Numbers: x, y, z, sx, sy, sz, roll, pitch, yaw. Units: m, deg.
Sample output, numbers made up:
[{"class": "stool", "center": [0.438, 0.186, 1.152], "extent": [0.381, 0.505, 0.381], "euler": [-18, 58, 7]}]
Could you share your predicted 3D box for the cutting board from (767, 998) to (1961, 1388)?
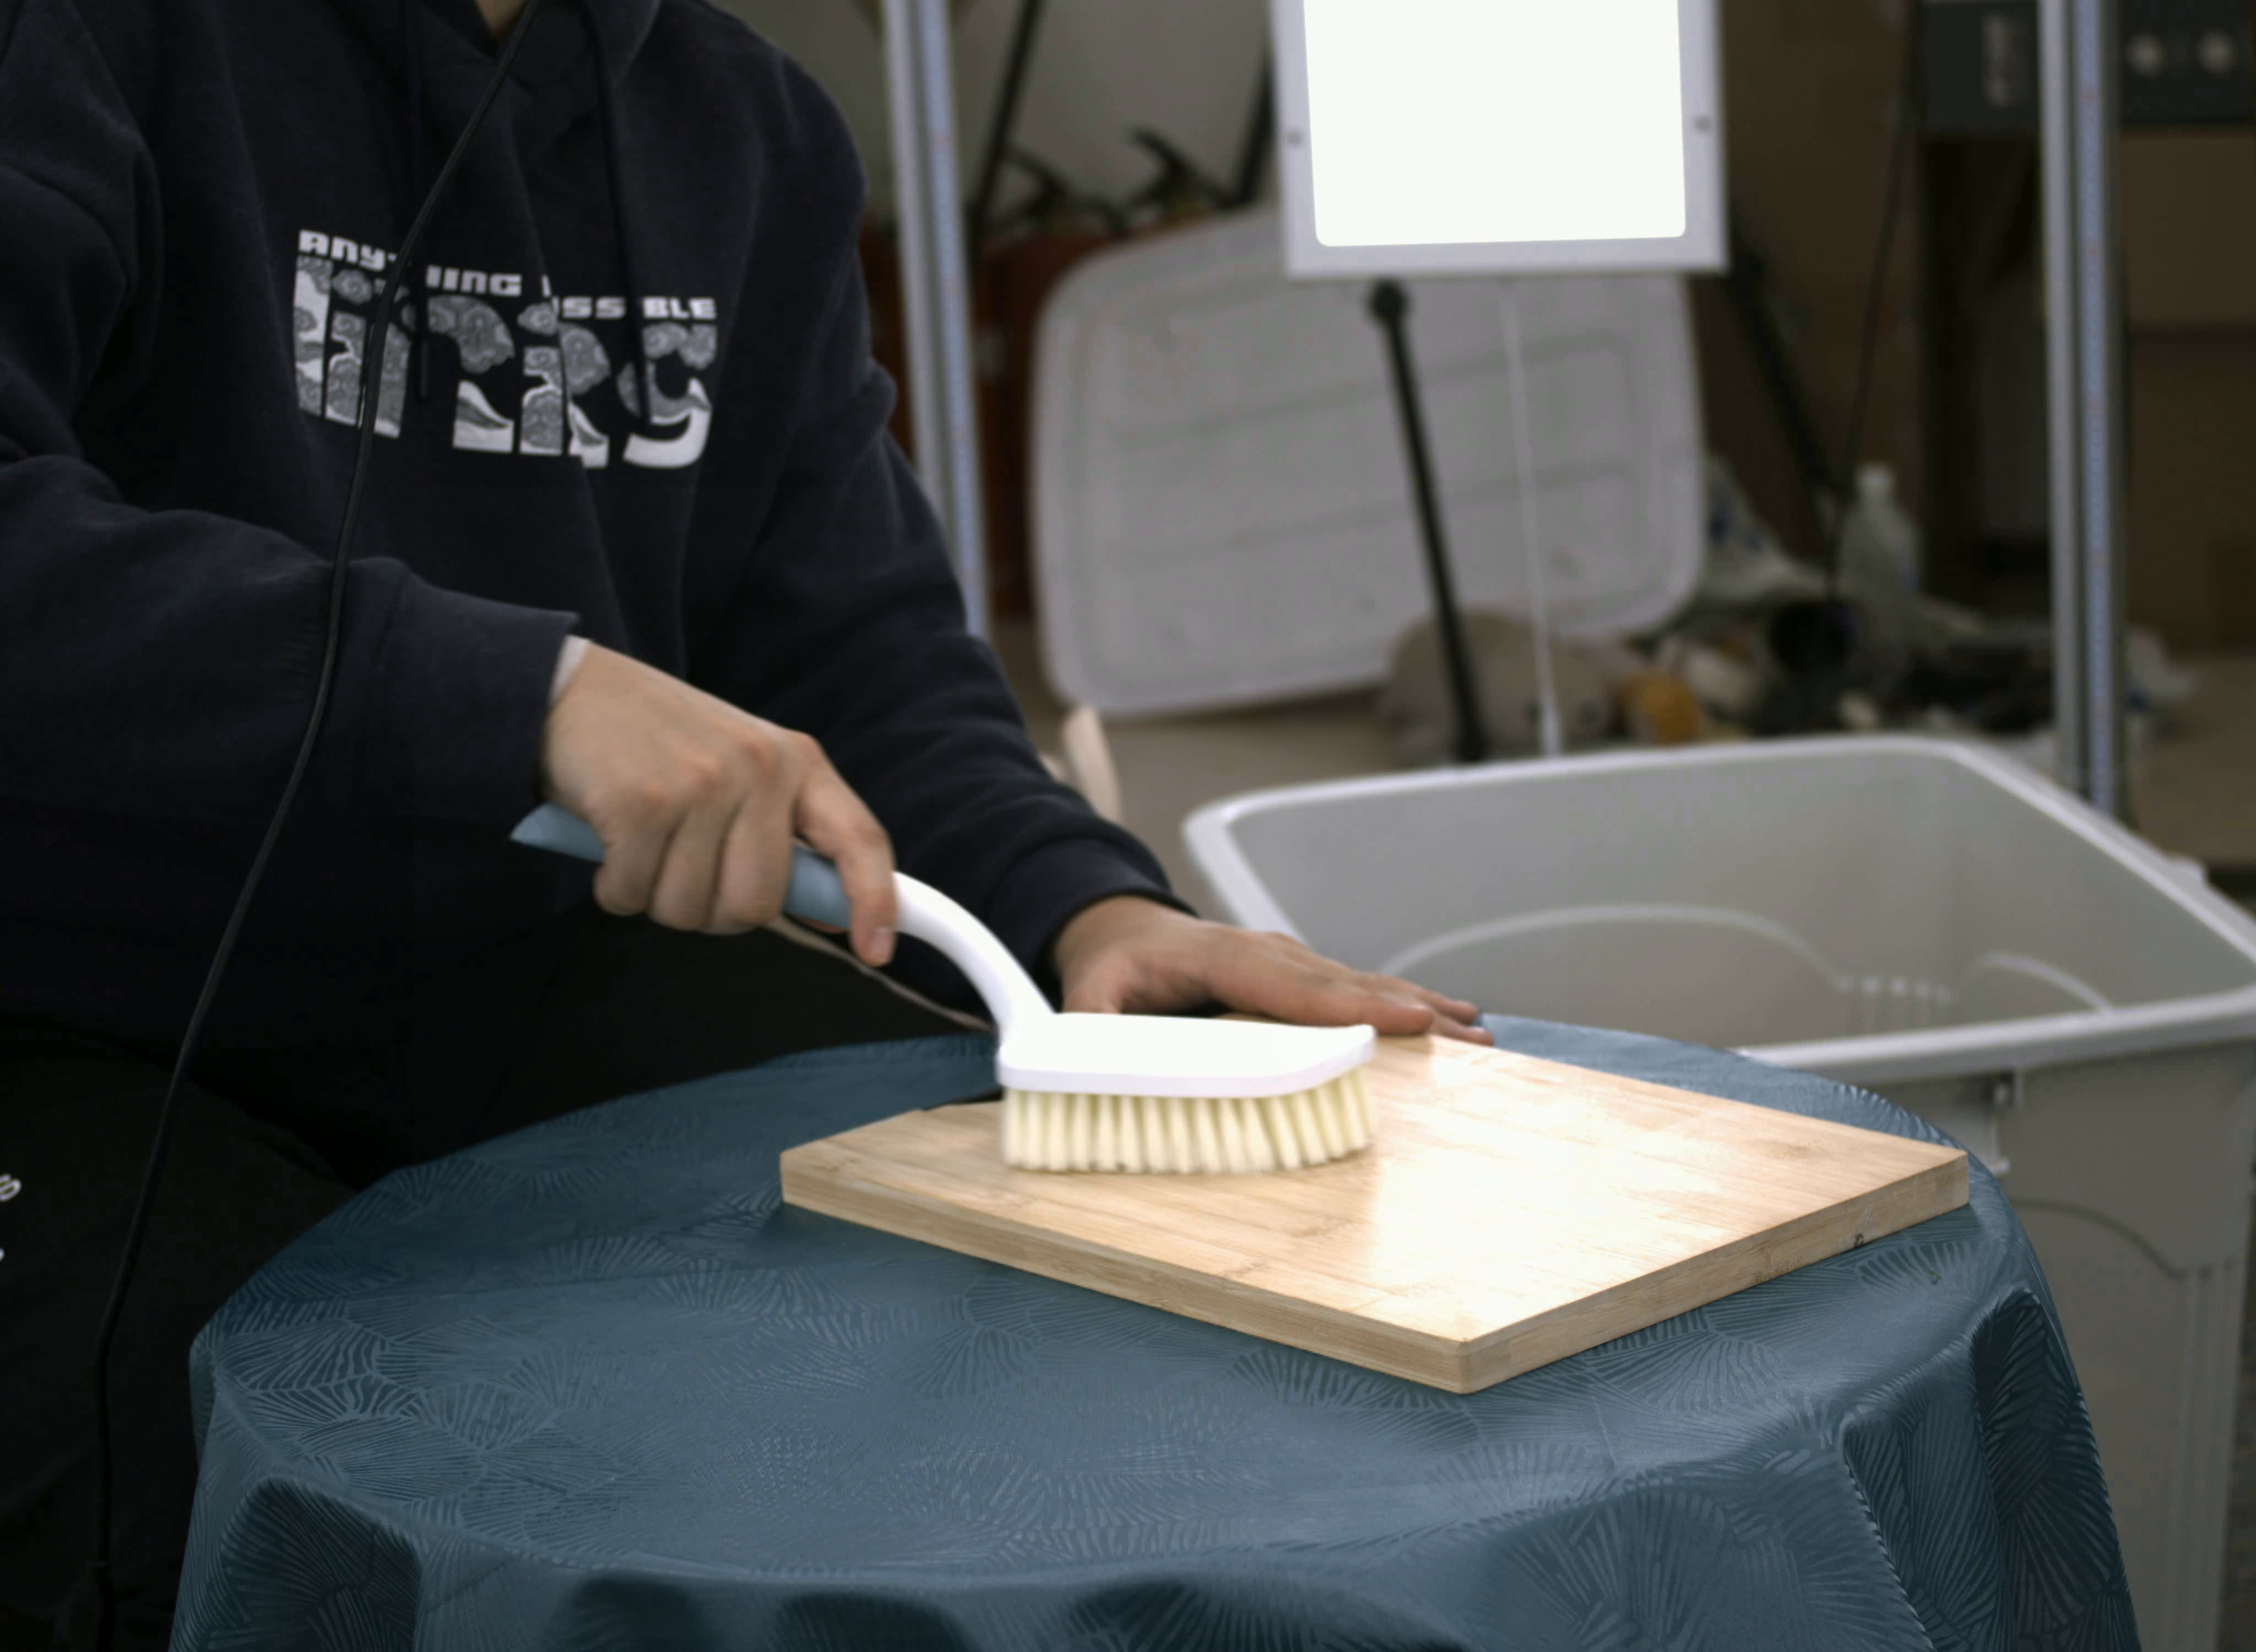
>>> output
[{"class": "cutting board", "center": [0.075, 0.119, 1.869], "extent": [0.244, 0.023, 0.356], "euler": [-15, 17, -39]}]

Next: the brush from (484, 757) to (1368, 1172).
[{"class": "brush", "center": [-0.074, 0.061, 1.904], "extent": [0.327, 0.084, 0.083], "euler": [16, -15, 12]}]
